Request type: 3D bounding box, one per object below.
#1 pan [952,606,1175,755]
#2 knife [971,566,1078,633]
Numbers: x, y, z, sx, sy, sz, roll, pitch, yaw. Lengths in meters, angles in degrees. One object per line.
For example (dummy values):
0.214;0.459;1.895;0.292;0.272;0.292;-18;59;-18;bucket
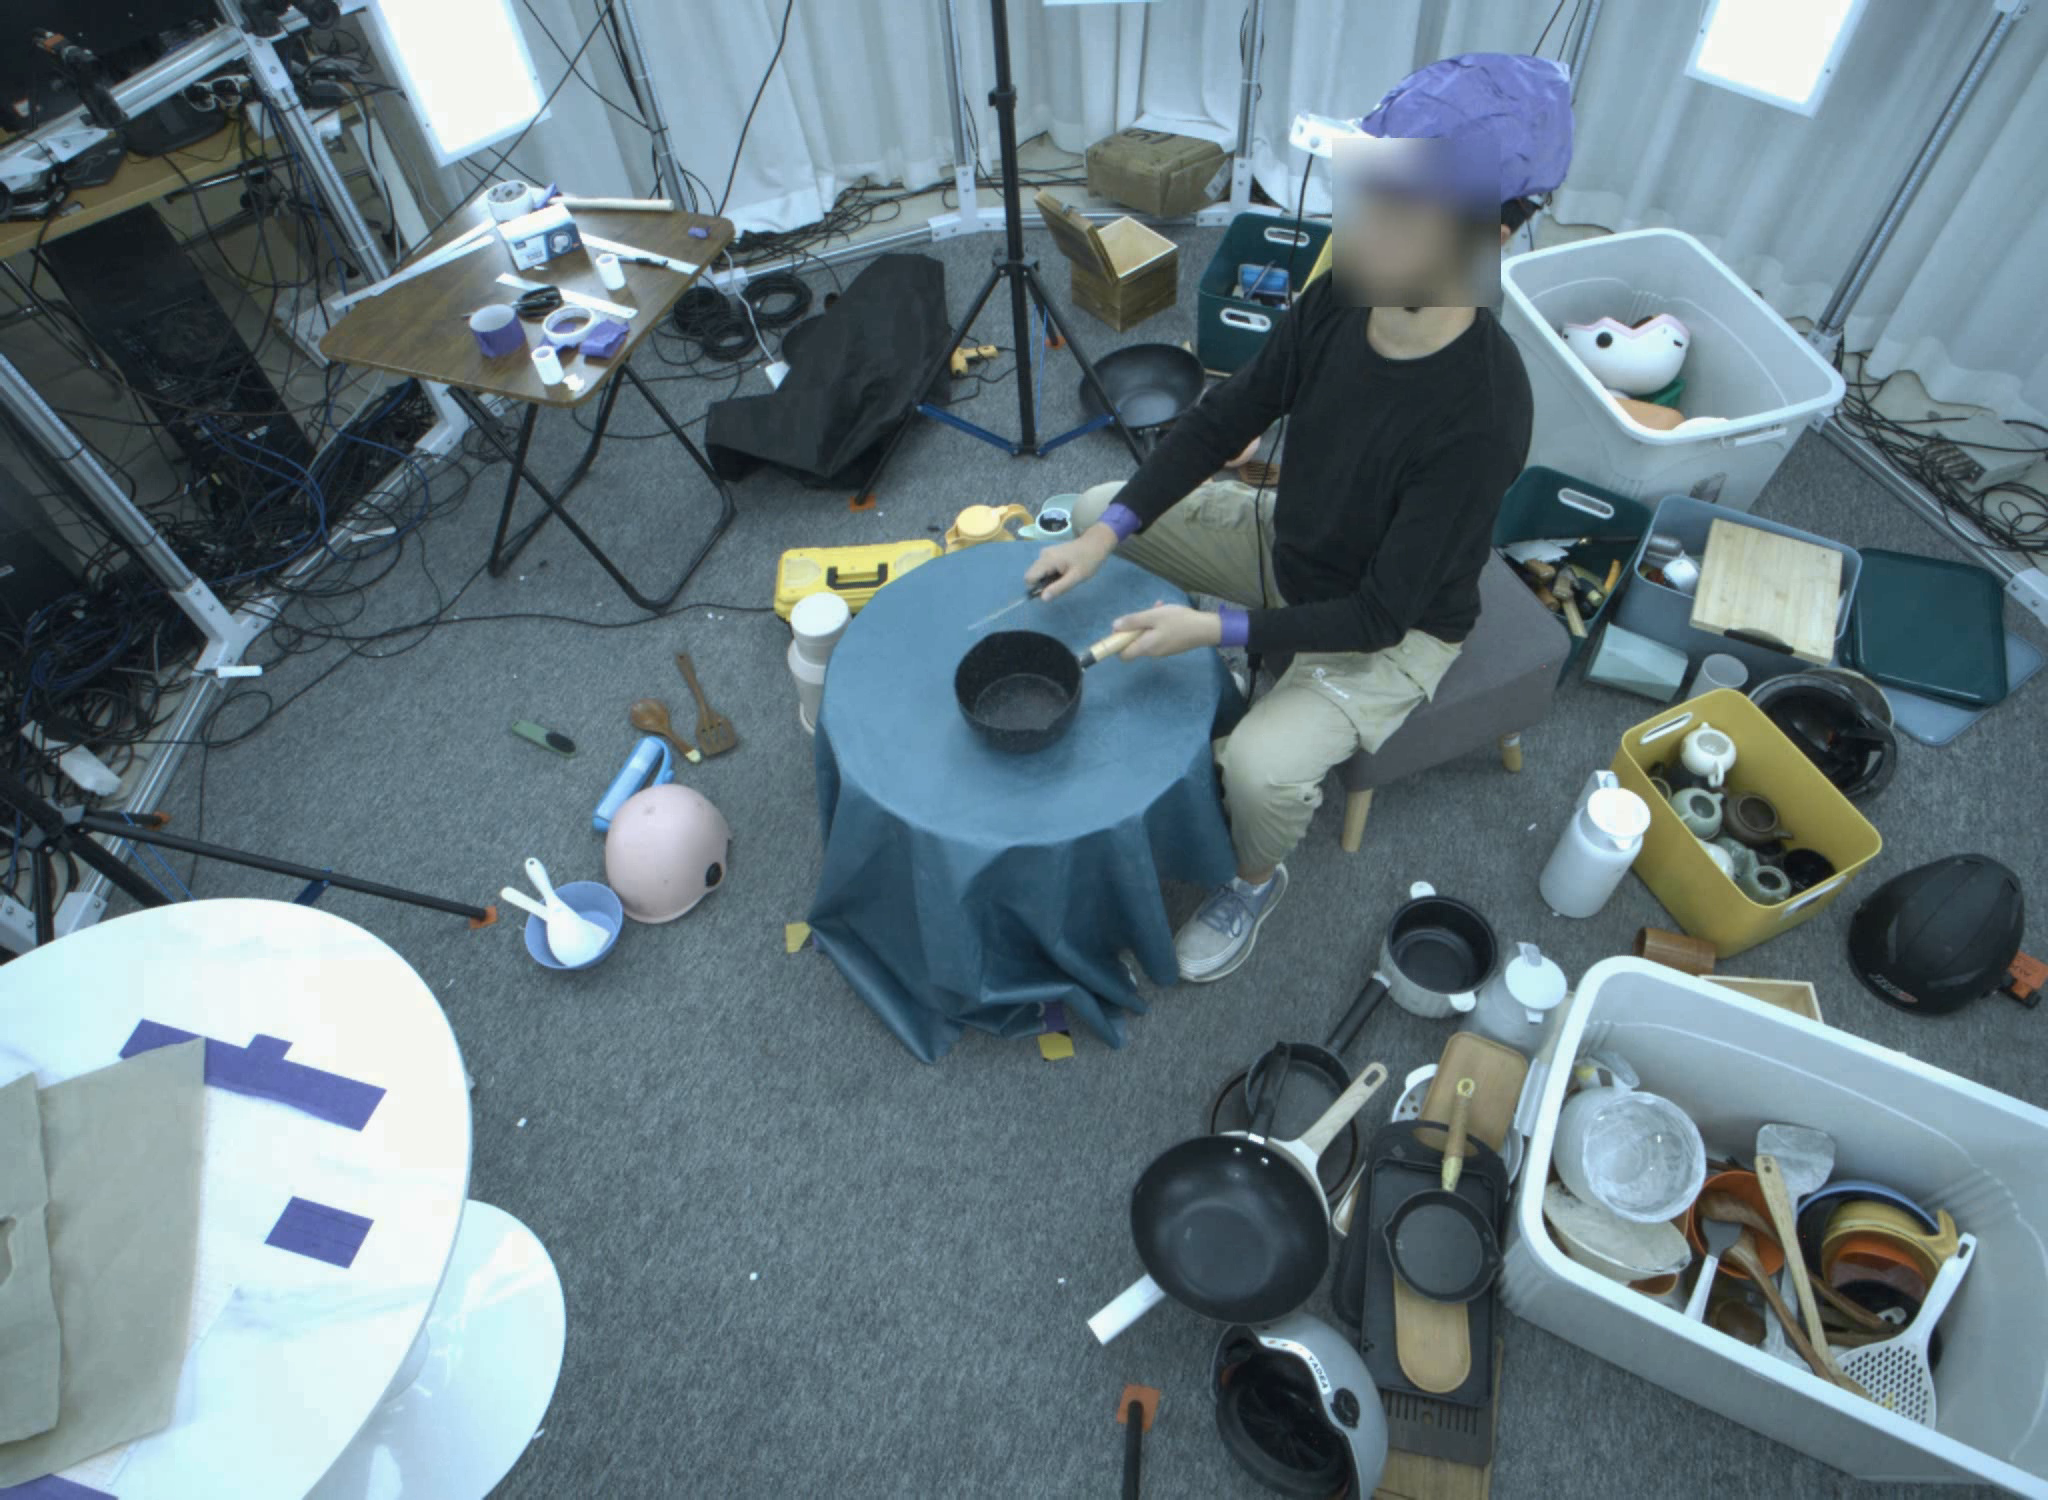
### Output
0.064;-0.114;1.793;0.345;0.109;0.203;-23;56;-11;pan
-0.001;-0.224;1.825;0.024;0.016;0.240;11;35;42;knife
